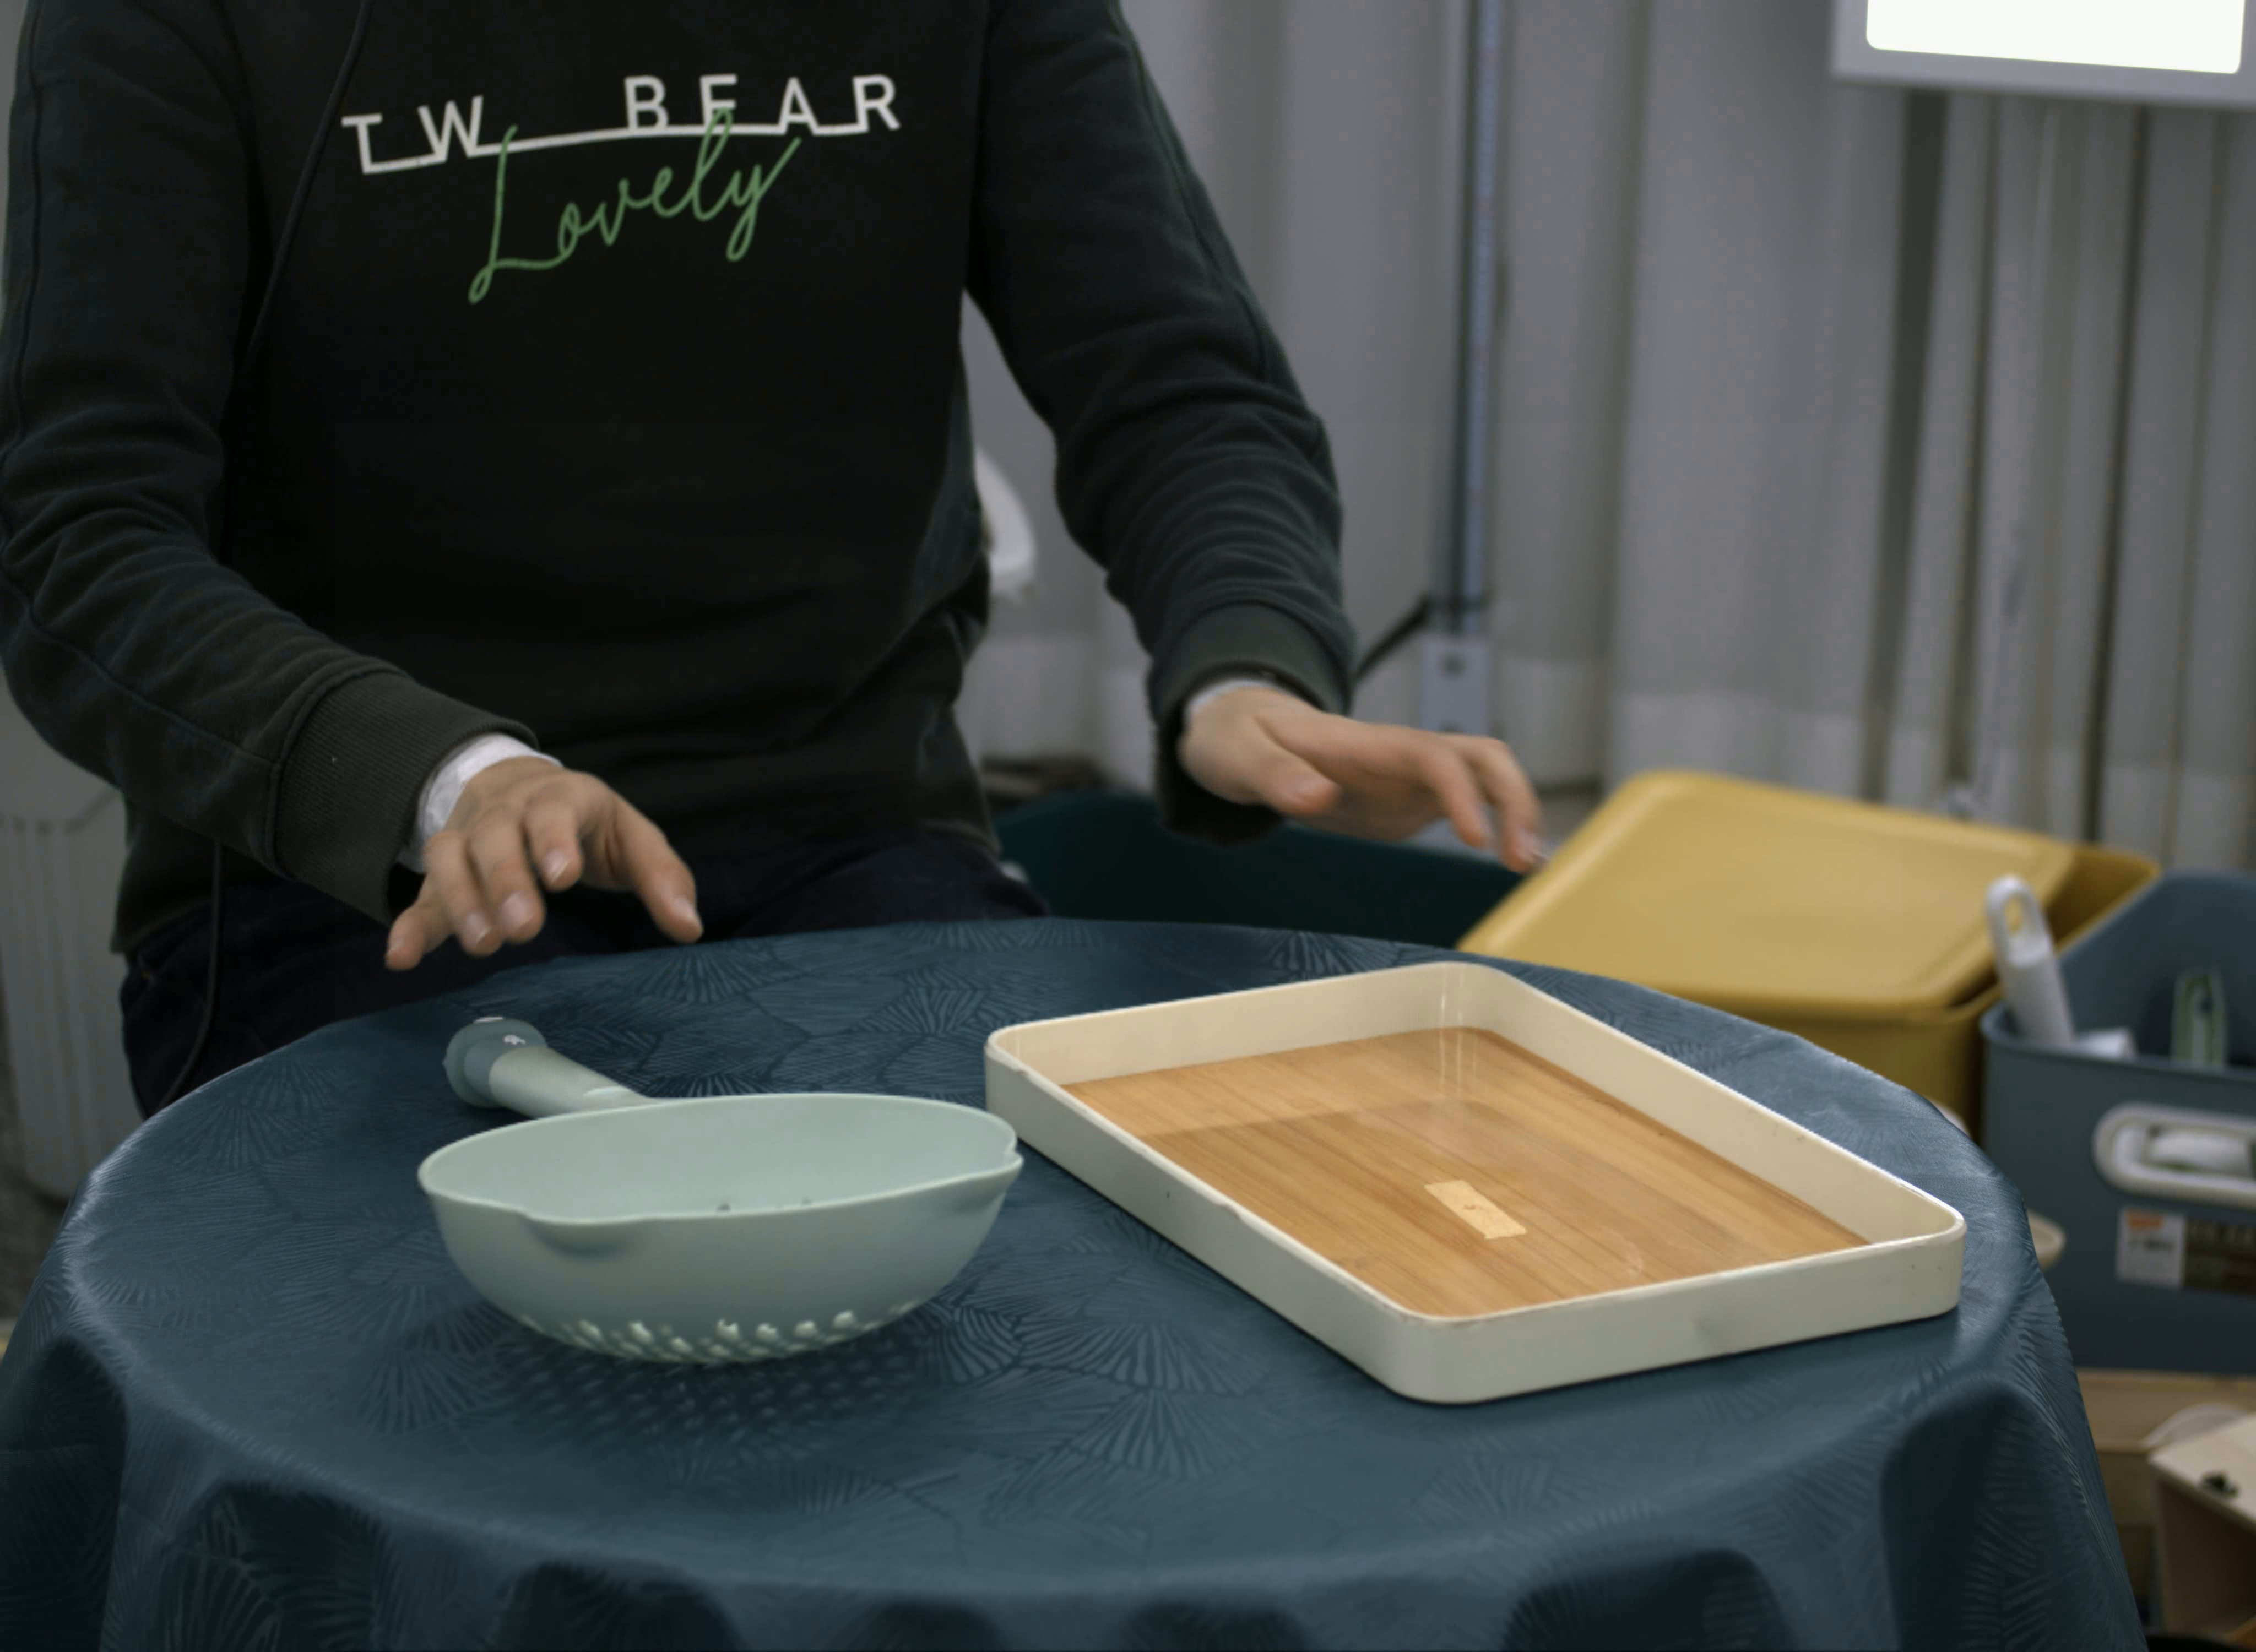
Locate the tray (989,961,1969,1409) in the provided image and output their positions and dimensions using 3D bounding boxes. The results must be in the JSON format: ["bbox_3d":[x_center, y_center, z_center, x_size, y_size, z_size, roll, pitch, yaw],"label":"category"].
[{"bbox_3d":[0.100,0.104,1.613,0.192,0.027,0.296,-7,18,-26],"label":"tray"}]

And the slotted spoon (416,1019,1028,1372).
[{"bbox_3d":[-0.150,0.094,1.570,0.170,0.076,0.354,-5,17,-22],"label":"slotted spoon"}]
